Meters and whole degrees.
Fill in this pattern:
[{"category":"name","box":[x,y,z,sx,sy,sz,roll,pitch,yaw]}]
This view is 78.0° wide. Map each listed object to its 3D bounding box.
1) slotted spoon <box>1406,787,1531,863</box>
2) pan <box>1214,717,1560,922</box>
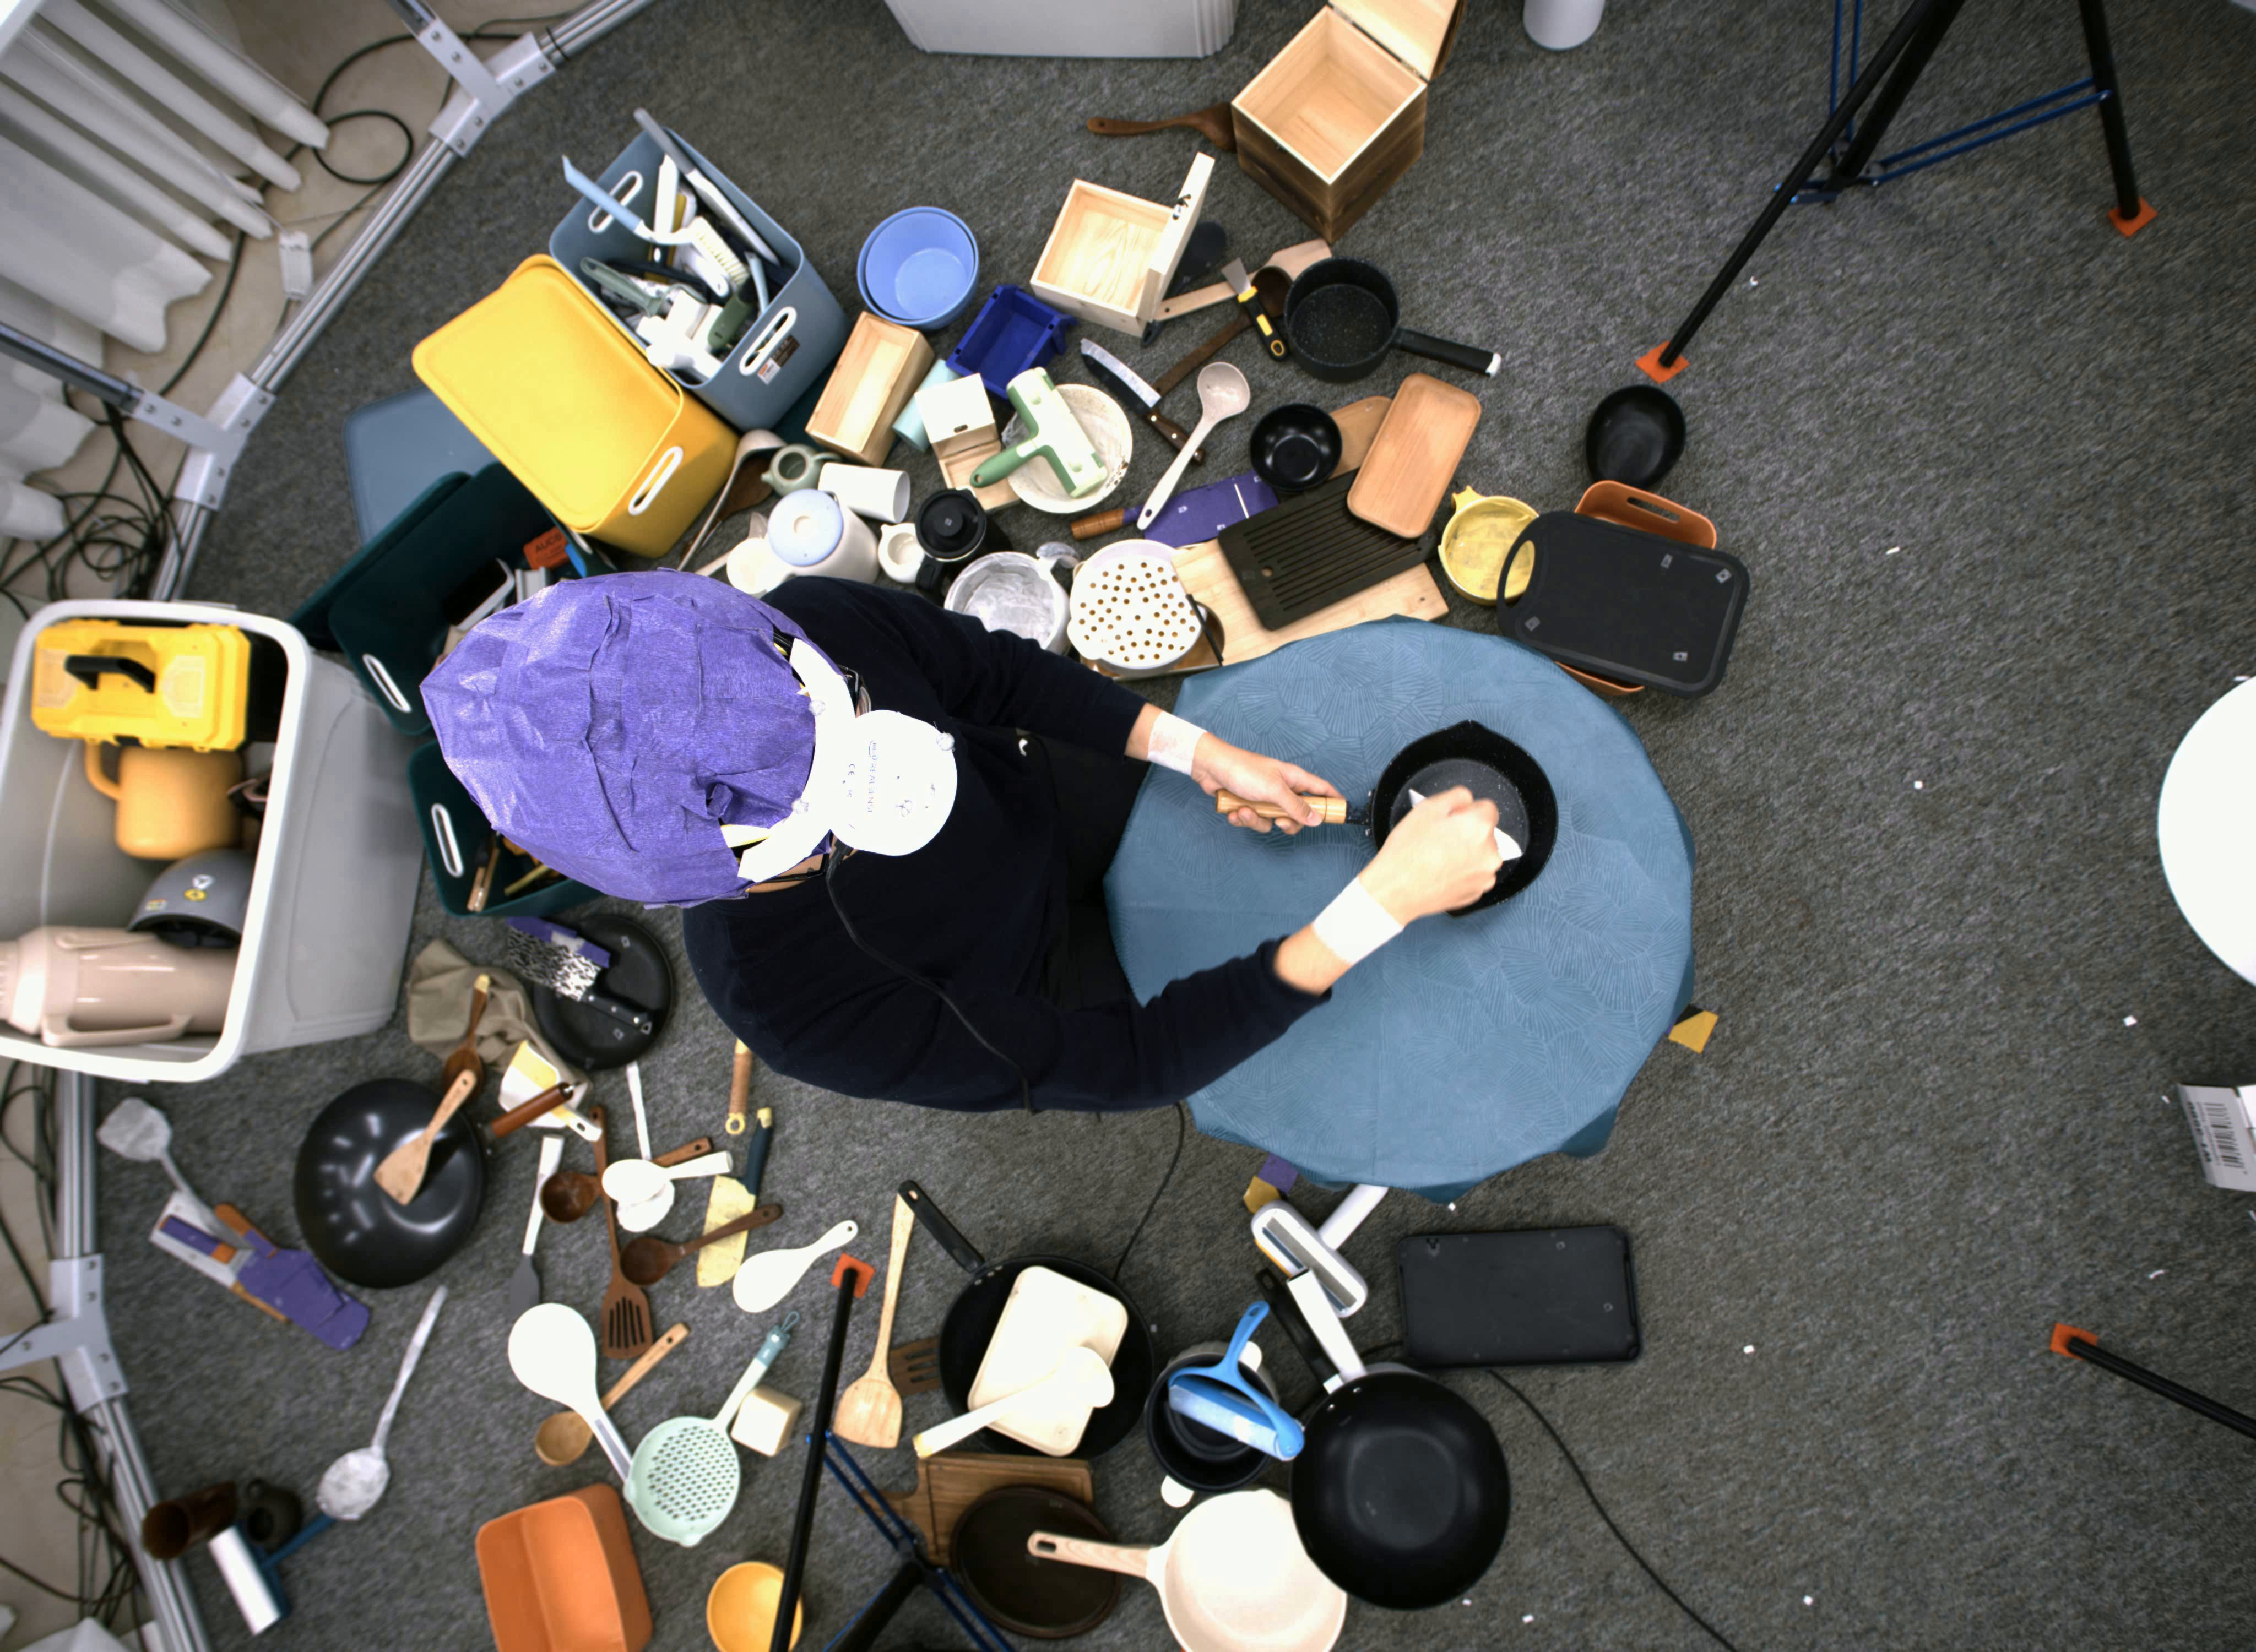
[{"category":"slotted spoon","box":[0.309,-0.004,1.262,0.136,0.348,0.050,27,89,12]},{"category":"pan","box":[0.261,-0.010,1.412,0.344,0.108,0.207,3,88,9]}]
